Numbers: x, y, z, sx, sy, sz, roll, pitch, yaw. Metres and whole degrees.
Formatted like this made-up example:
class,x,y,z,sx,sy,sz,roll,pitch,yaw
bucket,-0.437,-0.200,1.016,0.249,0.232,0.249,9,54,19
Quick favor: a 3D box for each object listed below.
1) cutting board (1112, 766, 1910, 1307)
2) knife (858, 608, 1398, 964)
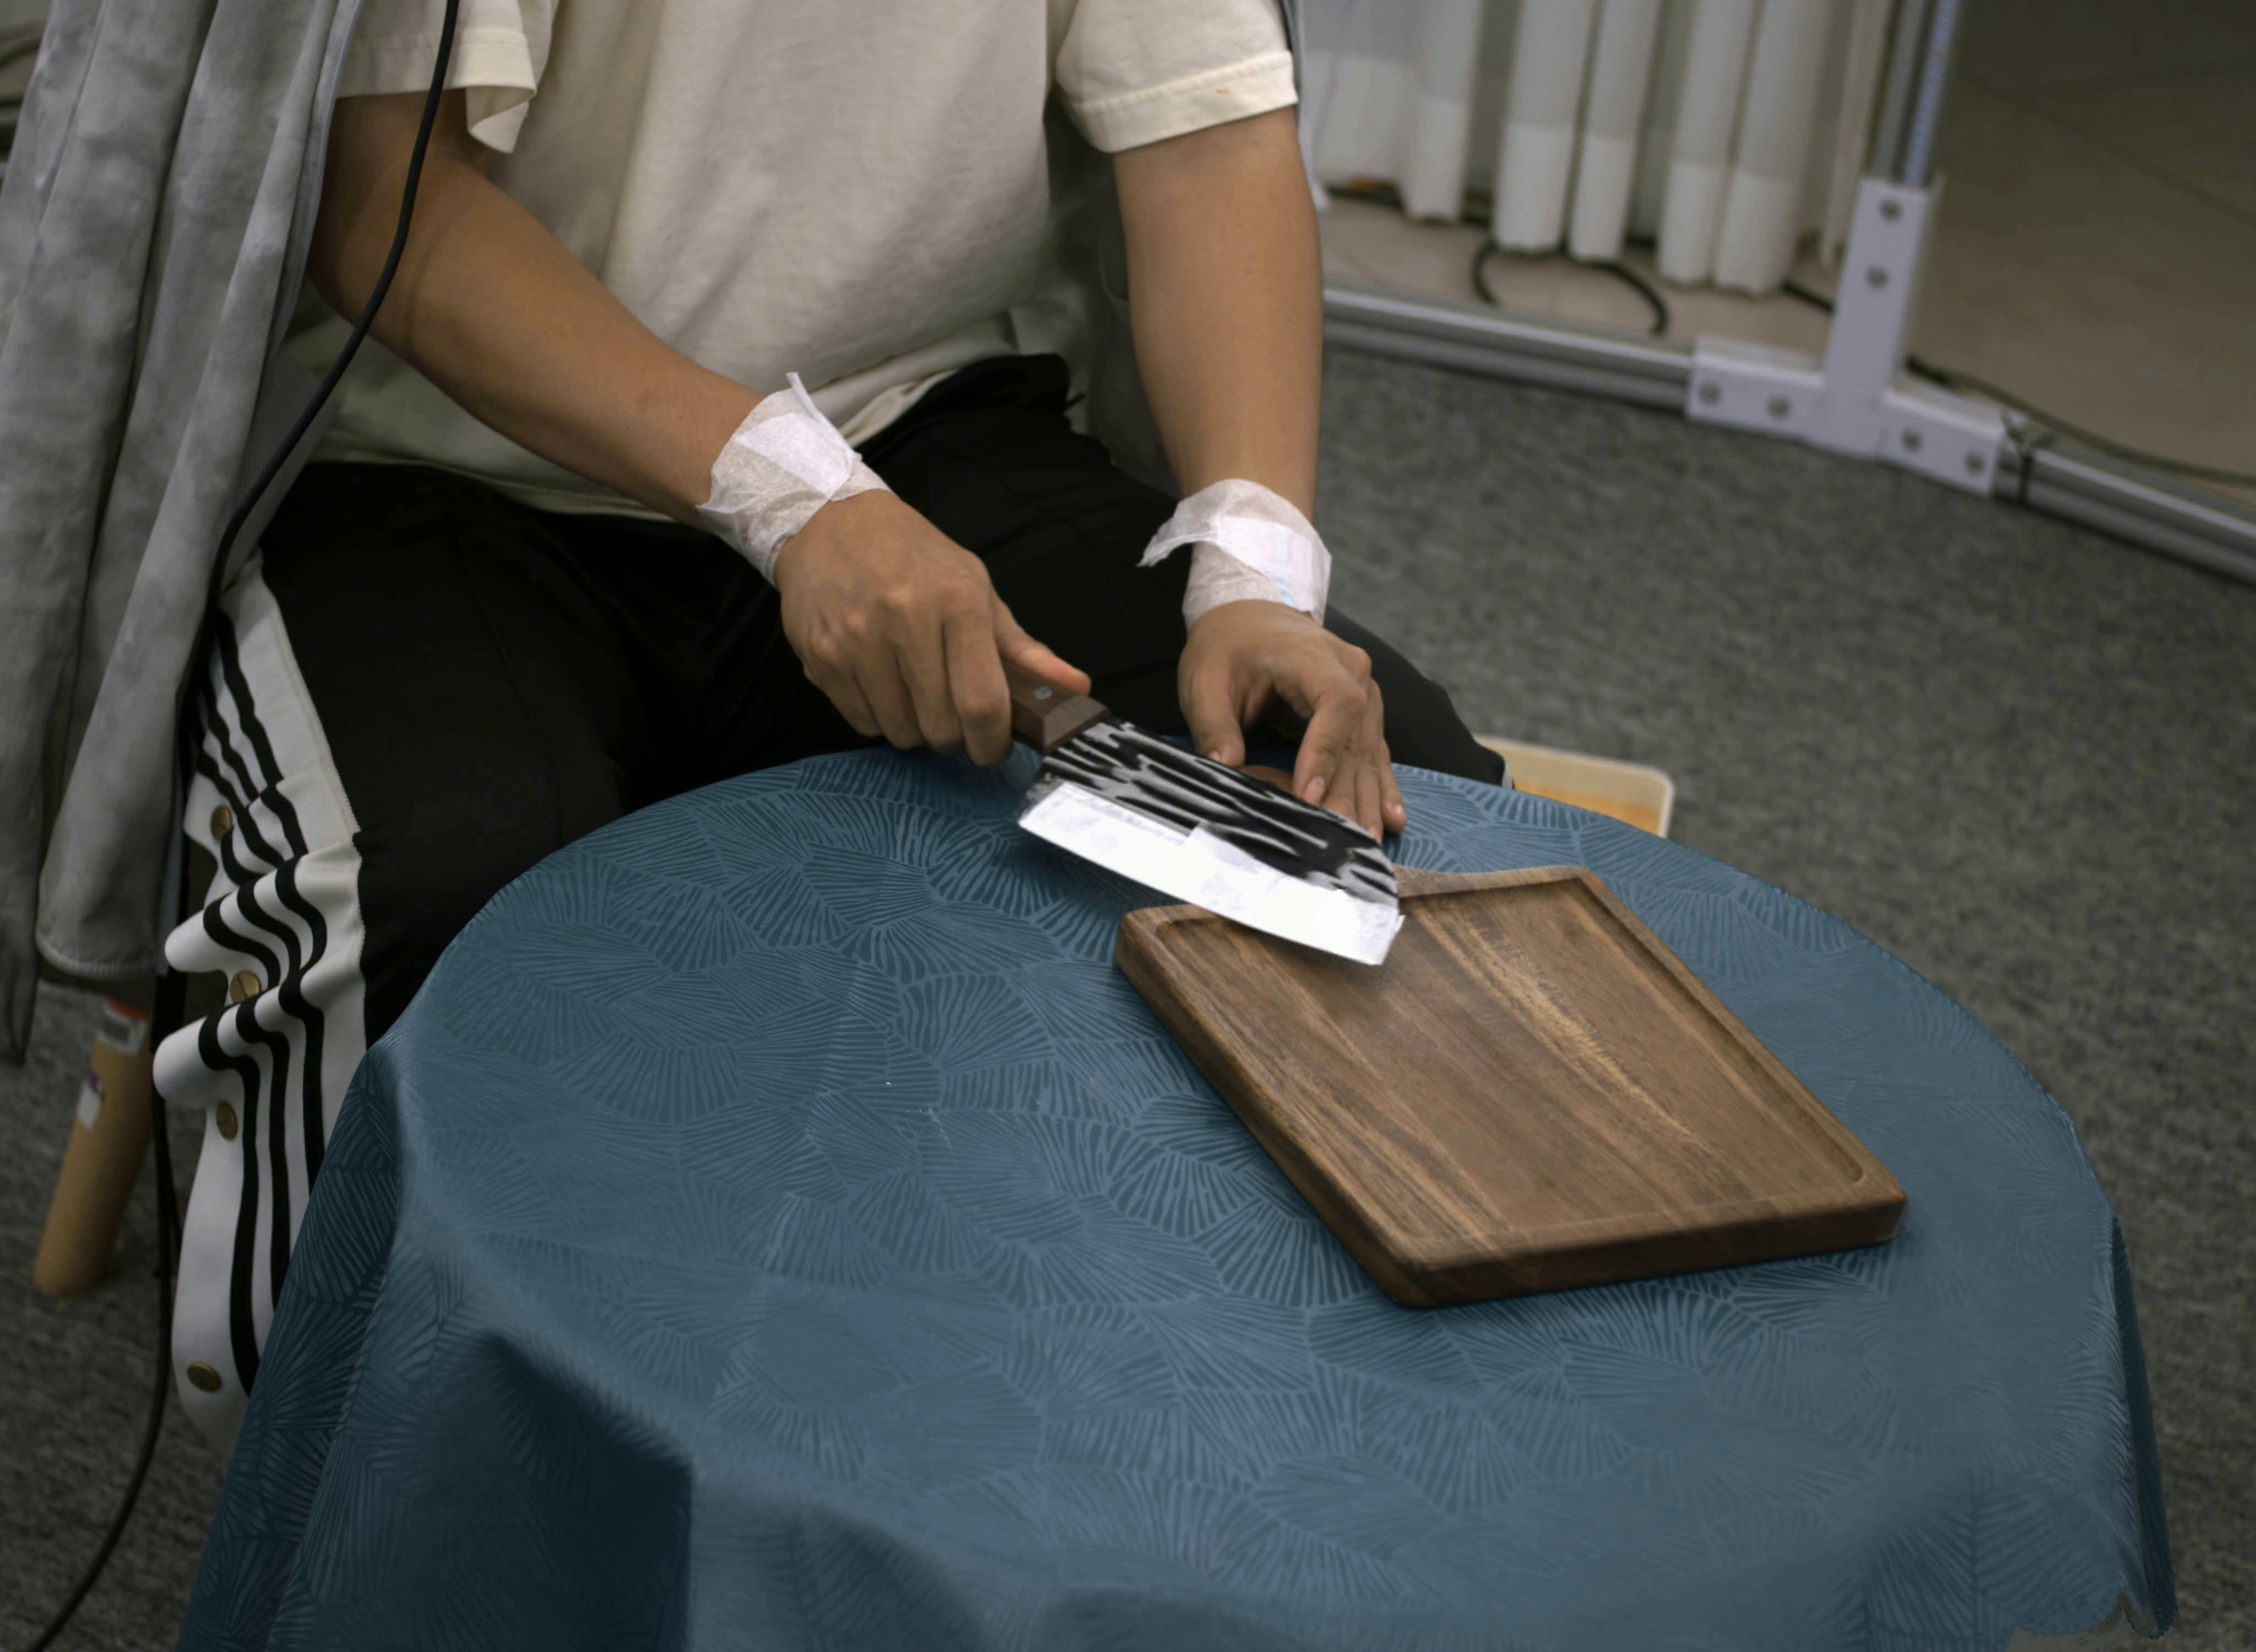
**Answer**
class,x,y,z,sx,sy,sz,roll,pitch,yaw
cutting board,0.112,0.064,1.925,0.200,0.023,0.355,-6,29,-23
knife,-0.008,-0.015,2.013,0.301,0.024,0.068,25,52,35
